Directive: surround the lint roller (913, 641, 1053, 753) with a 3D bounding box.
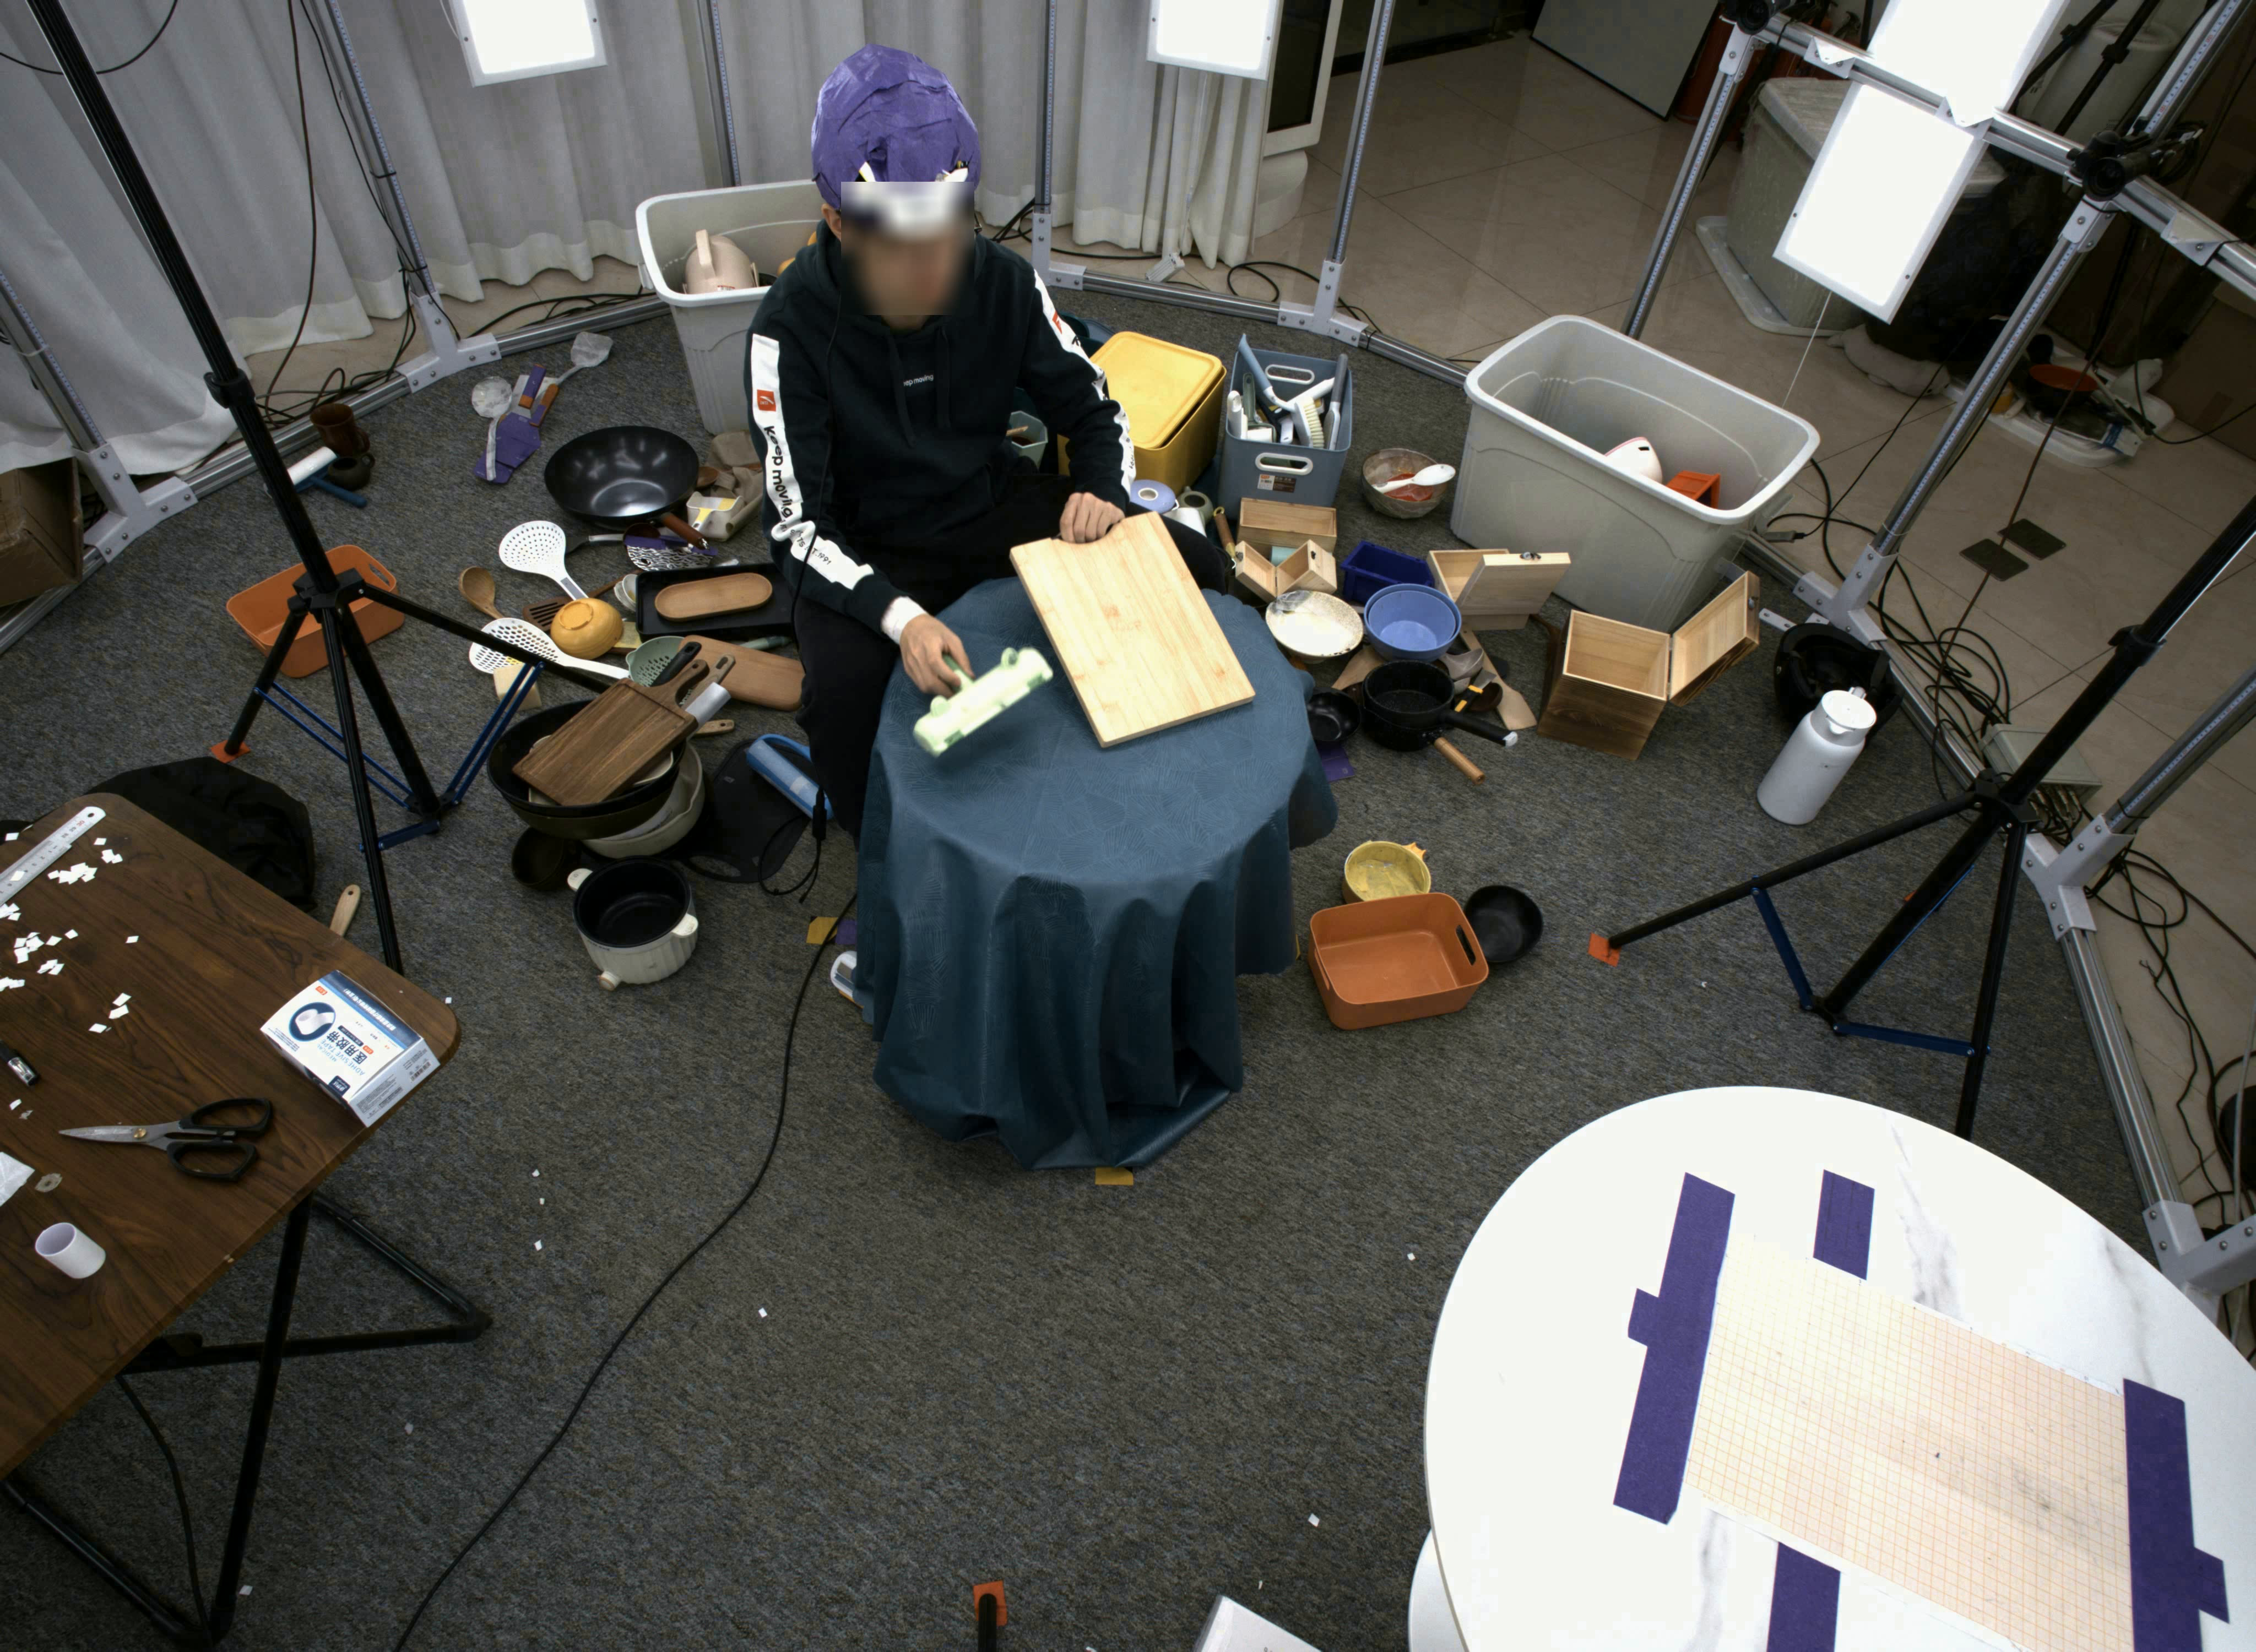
[{"bbox_3d":[-0.228,-0.208,1.718,0.200,0.080,0.186,-38,60,-17],"label":"lint roller"}]

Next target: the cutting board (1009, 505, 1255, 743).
[{"bbox_3d":[0.003,-0.297,1.855,0.251,0.023,0.354,-19,68,-19],"label":"cutting board"}]
